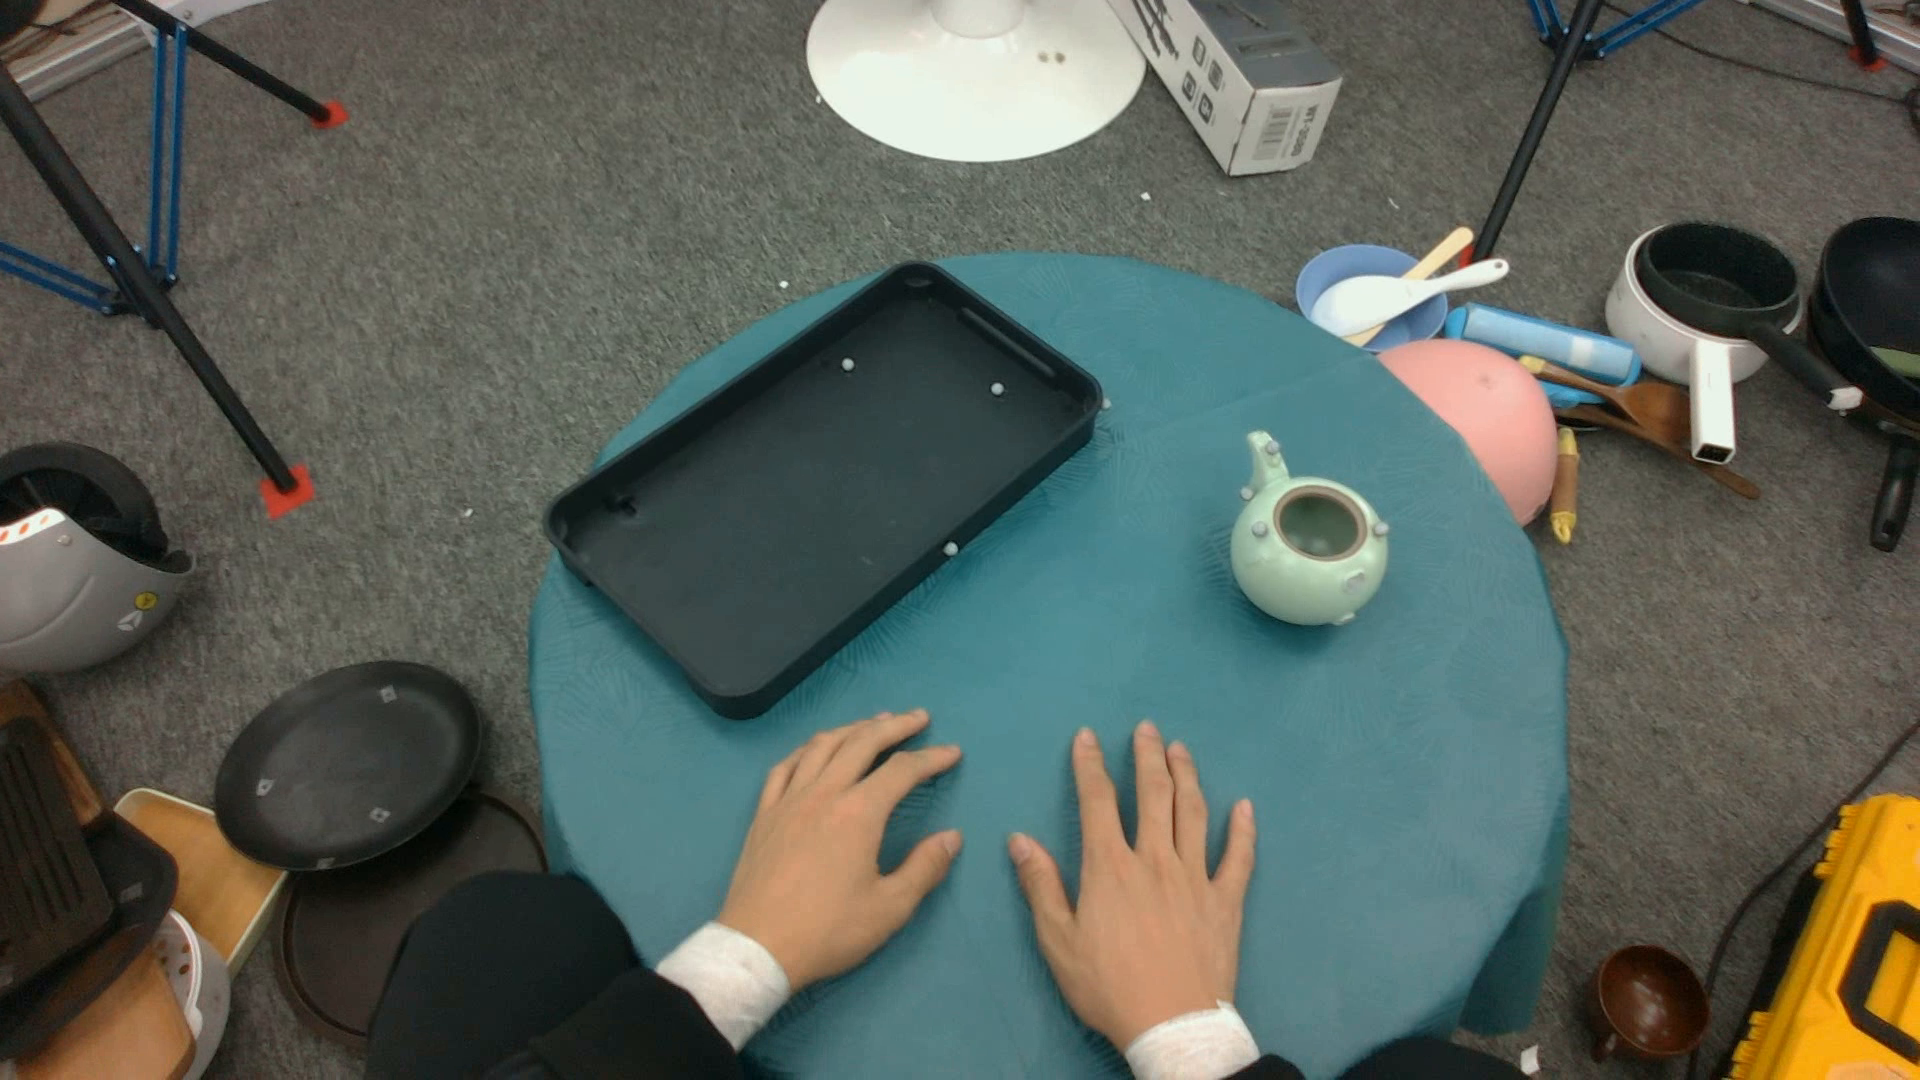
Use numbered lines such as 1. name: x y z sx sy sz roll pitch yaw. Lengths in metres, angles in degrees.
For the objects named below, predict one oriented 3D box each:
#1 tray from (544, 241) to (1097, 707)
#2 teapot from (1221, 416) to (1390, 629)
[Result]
1. tray: -0.078 -0.054 0.847 0.184 0.037 0.319 37 62 21
2. teapot: 0.196 -0.002 0.797 0.088 0.074 0.144 -20 57 -15
